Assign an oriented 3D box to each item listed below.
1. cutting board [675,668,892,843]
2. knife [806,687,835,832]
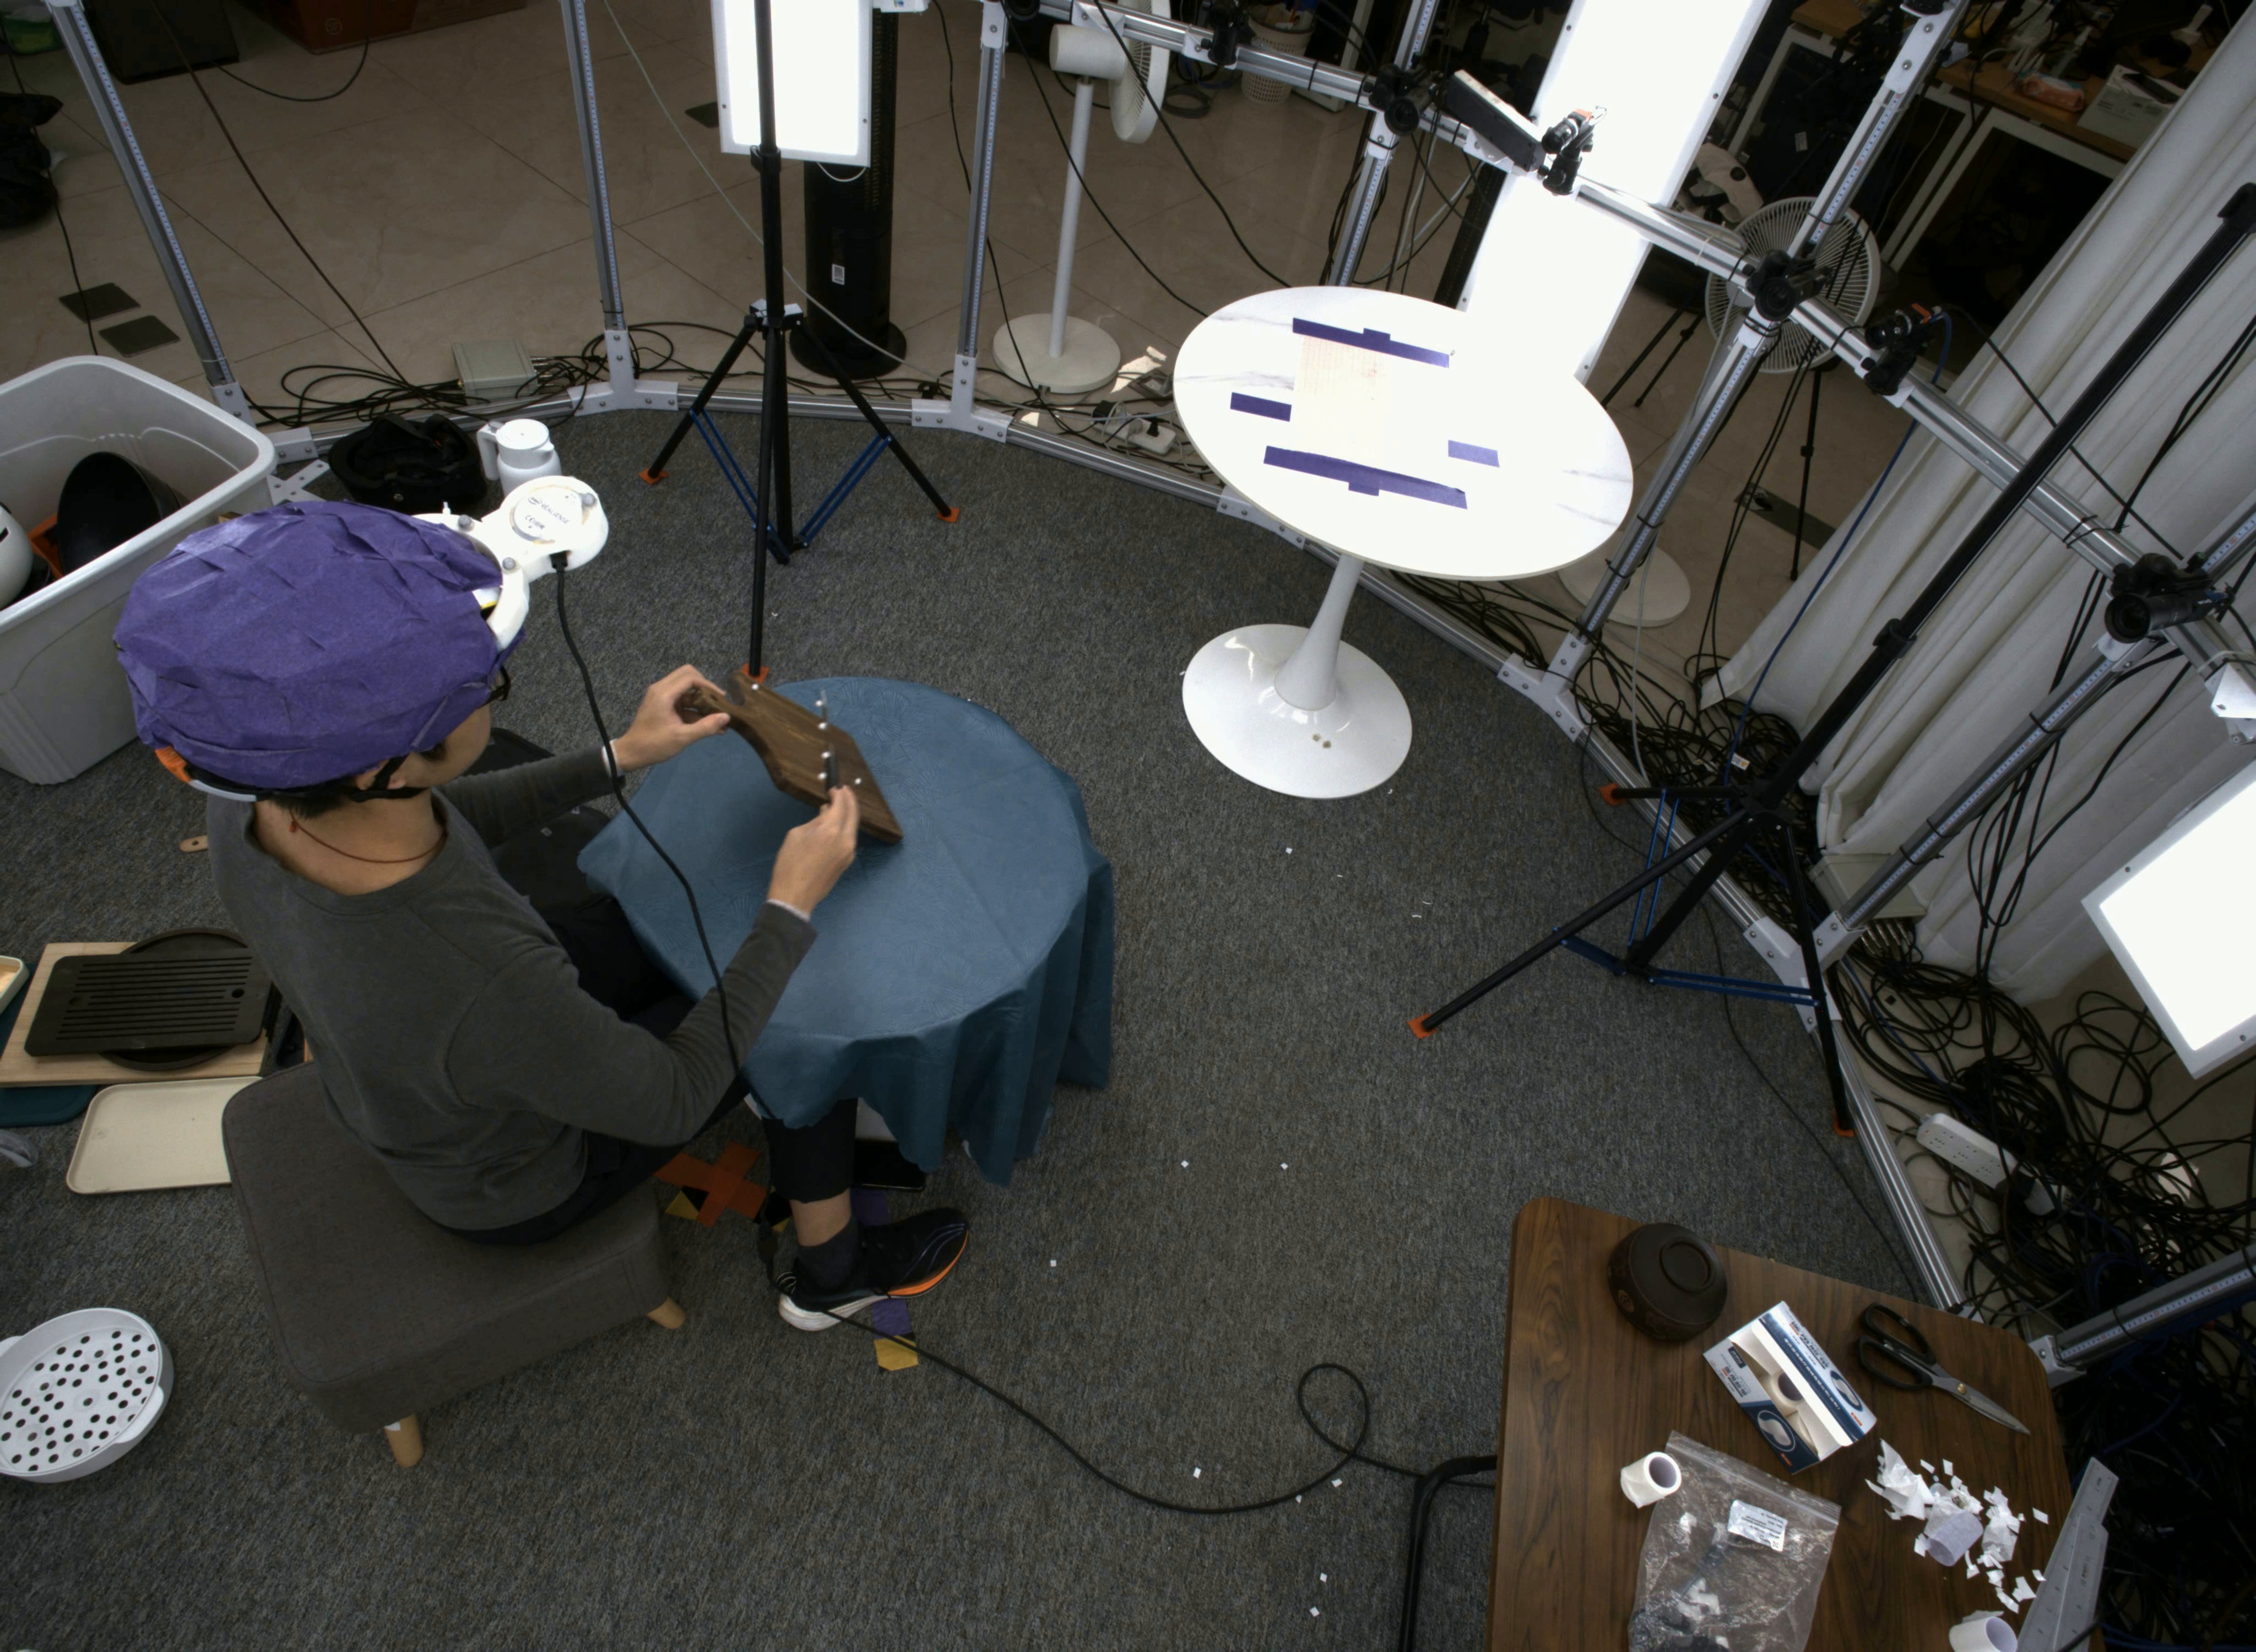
[{"bbox_3d":[-0.439,-0.101,1.624,0.023,0.362,0.196,-38,63,10],"label":"cutting board"},{"bbox_3d":[-0.364,-0.086,1.515,0.016,0.025,0.231,3,47,-26],"label":"knife"}]
